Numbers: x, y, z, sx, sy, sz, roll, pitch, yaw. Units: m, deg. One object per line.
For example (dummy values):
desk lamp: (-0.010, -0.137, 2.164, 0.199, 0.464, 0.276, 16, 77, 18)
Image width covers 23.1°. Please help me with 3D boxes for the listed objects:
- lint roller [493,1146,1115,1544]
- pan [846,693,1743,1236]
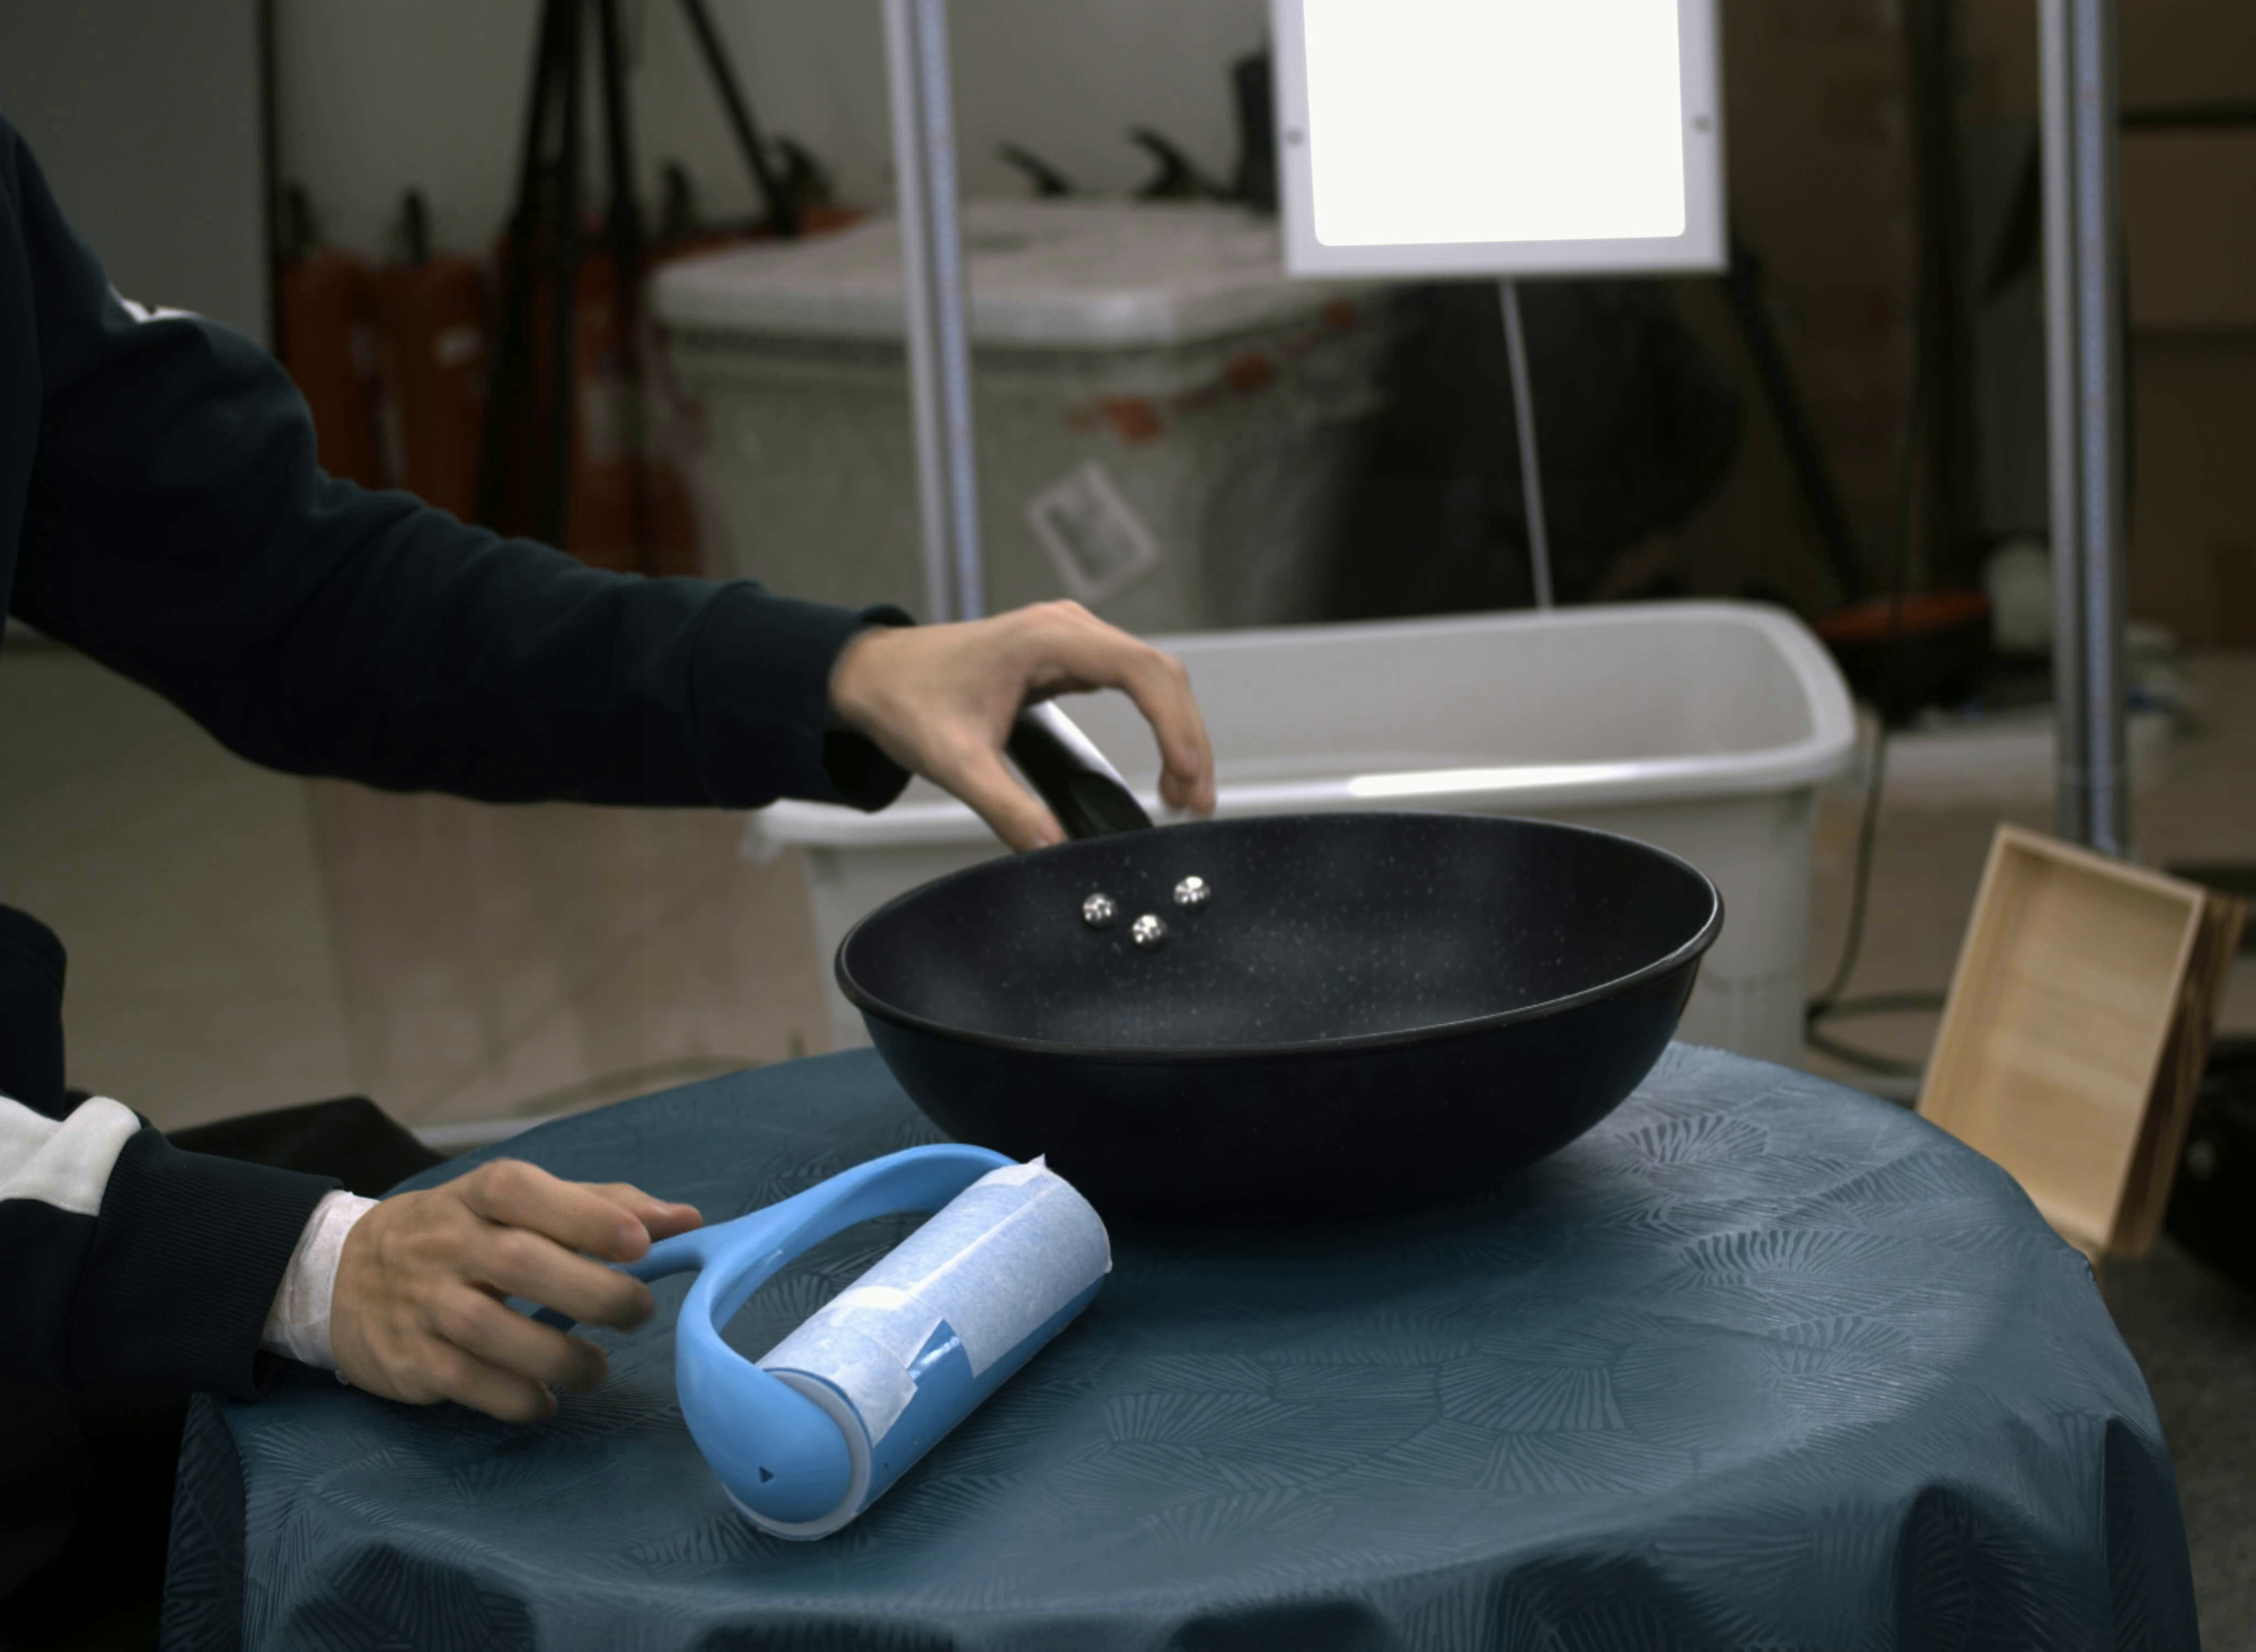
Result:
lint roller: (-0.116, 0.157, 1.699, 0.182, 0.068, 0.225, 0, 16, 19)
pan: (0.030, 0.049, 1.978, 0.305, 0.112, 0.483, -8, 14, -18)
